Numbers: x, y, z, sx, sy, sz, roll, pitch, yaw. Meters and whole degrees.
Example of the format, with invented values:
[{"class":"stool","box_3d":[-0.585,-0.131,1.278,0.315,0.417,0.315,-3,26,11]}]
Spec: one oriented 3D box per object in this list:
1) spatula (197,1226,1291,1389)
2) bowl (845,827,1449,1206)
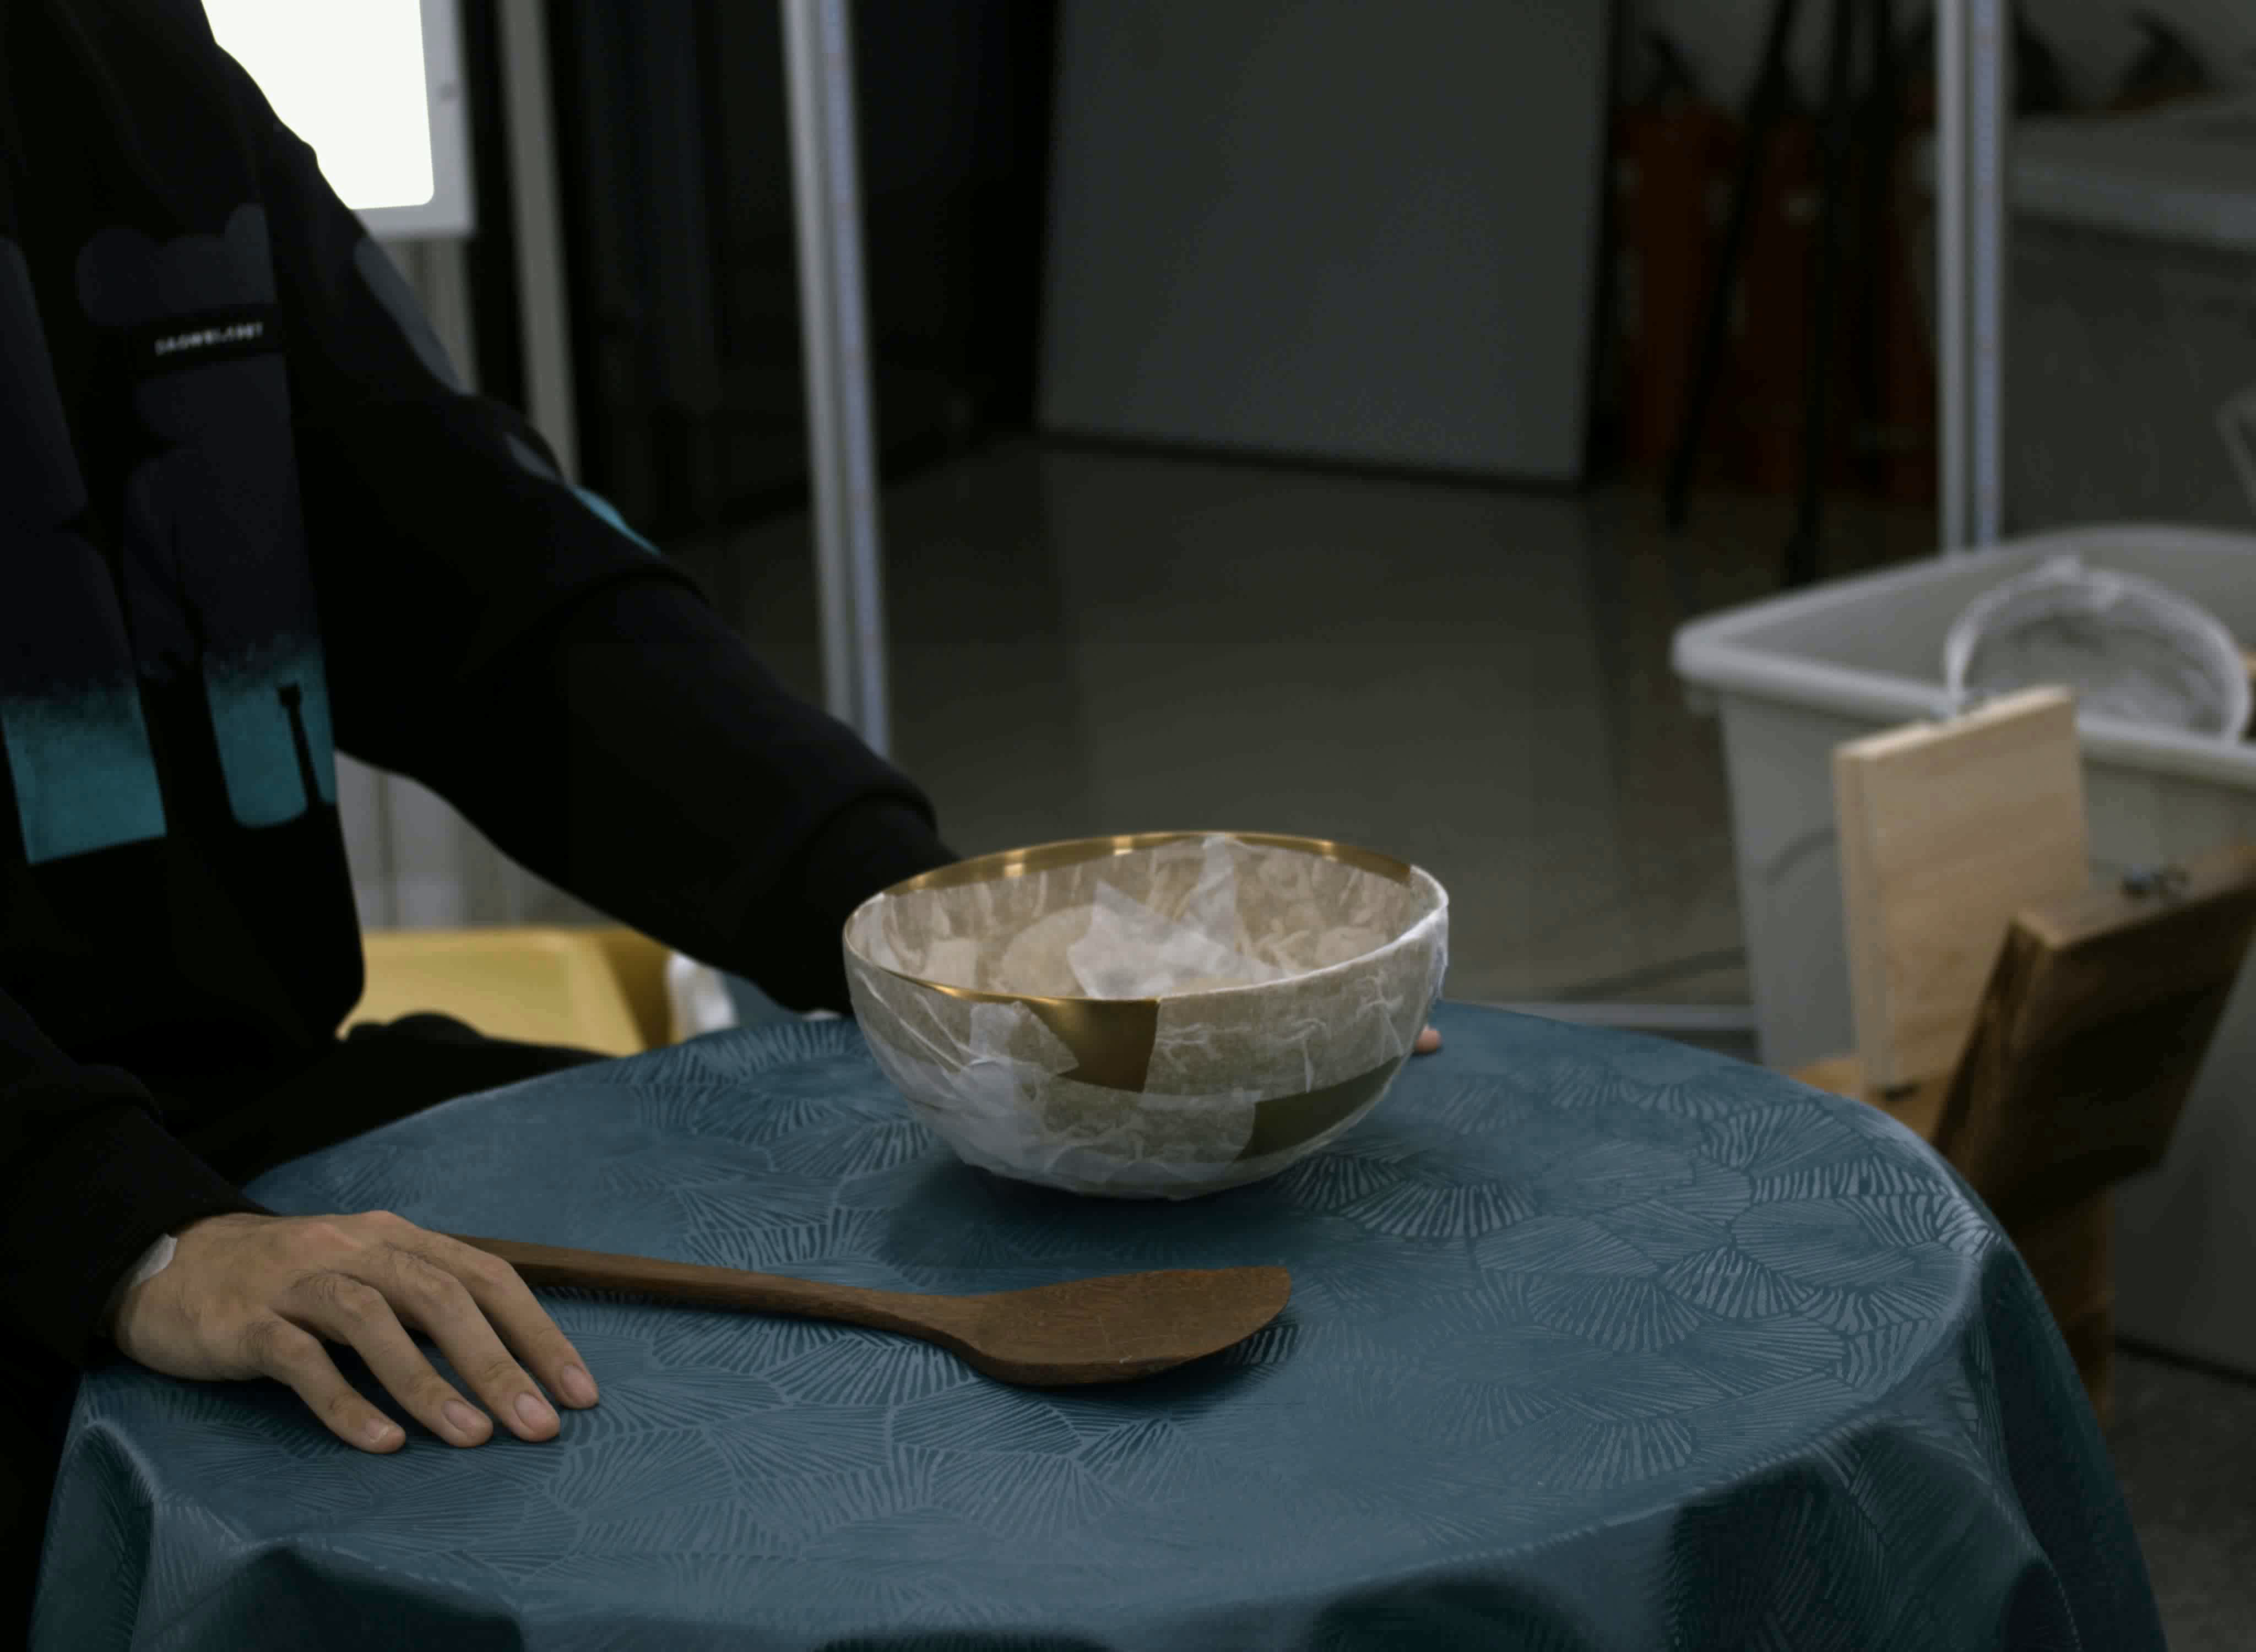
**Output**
[{"class":"spatula","box_3d":[-0.131,0.145,1.685,0.387,0.016,0.095,3,15,27]},{"class":"bowl","box_3d":[0.008,0.070,1.783,0.212,0.095,0.215,-6,14,1]}]
